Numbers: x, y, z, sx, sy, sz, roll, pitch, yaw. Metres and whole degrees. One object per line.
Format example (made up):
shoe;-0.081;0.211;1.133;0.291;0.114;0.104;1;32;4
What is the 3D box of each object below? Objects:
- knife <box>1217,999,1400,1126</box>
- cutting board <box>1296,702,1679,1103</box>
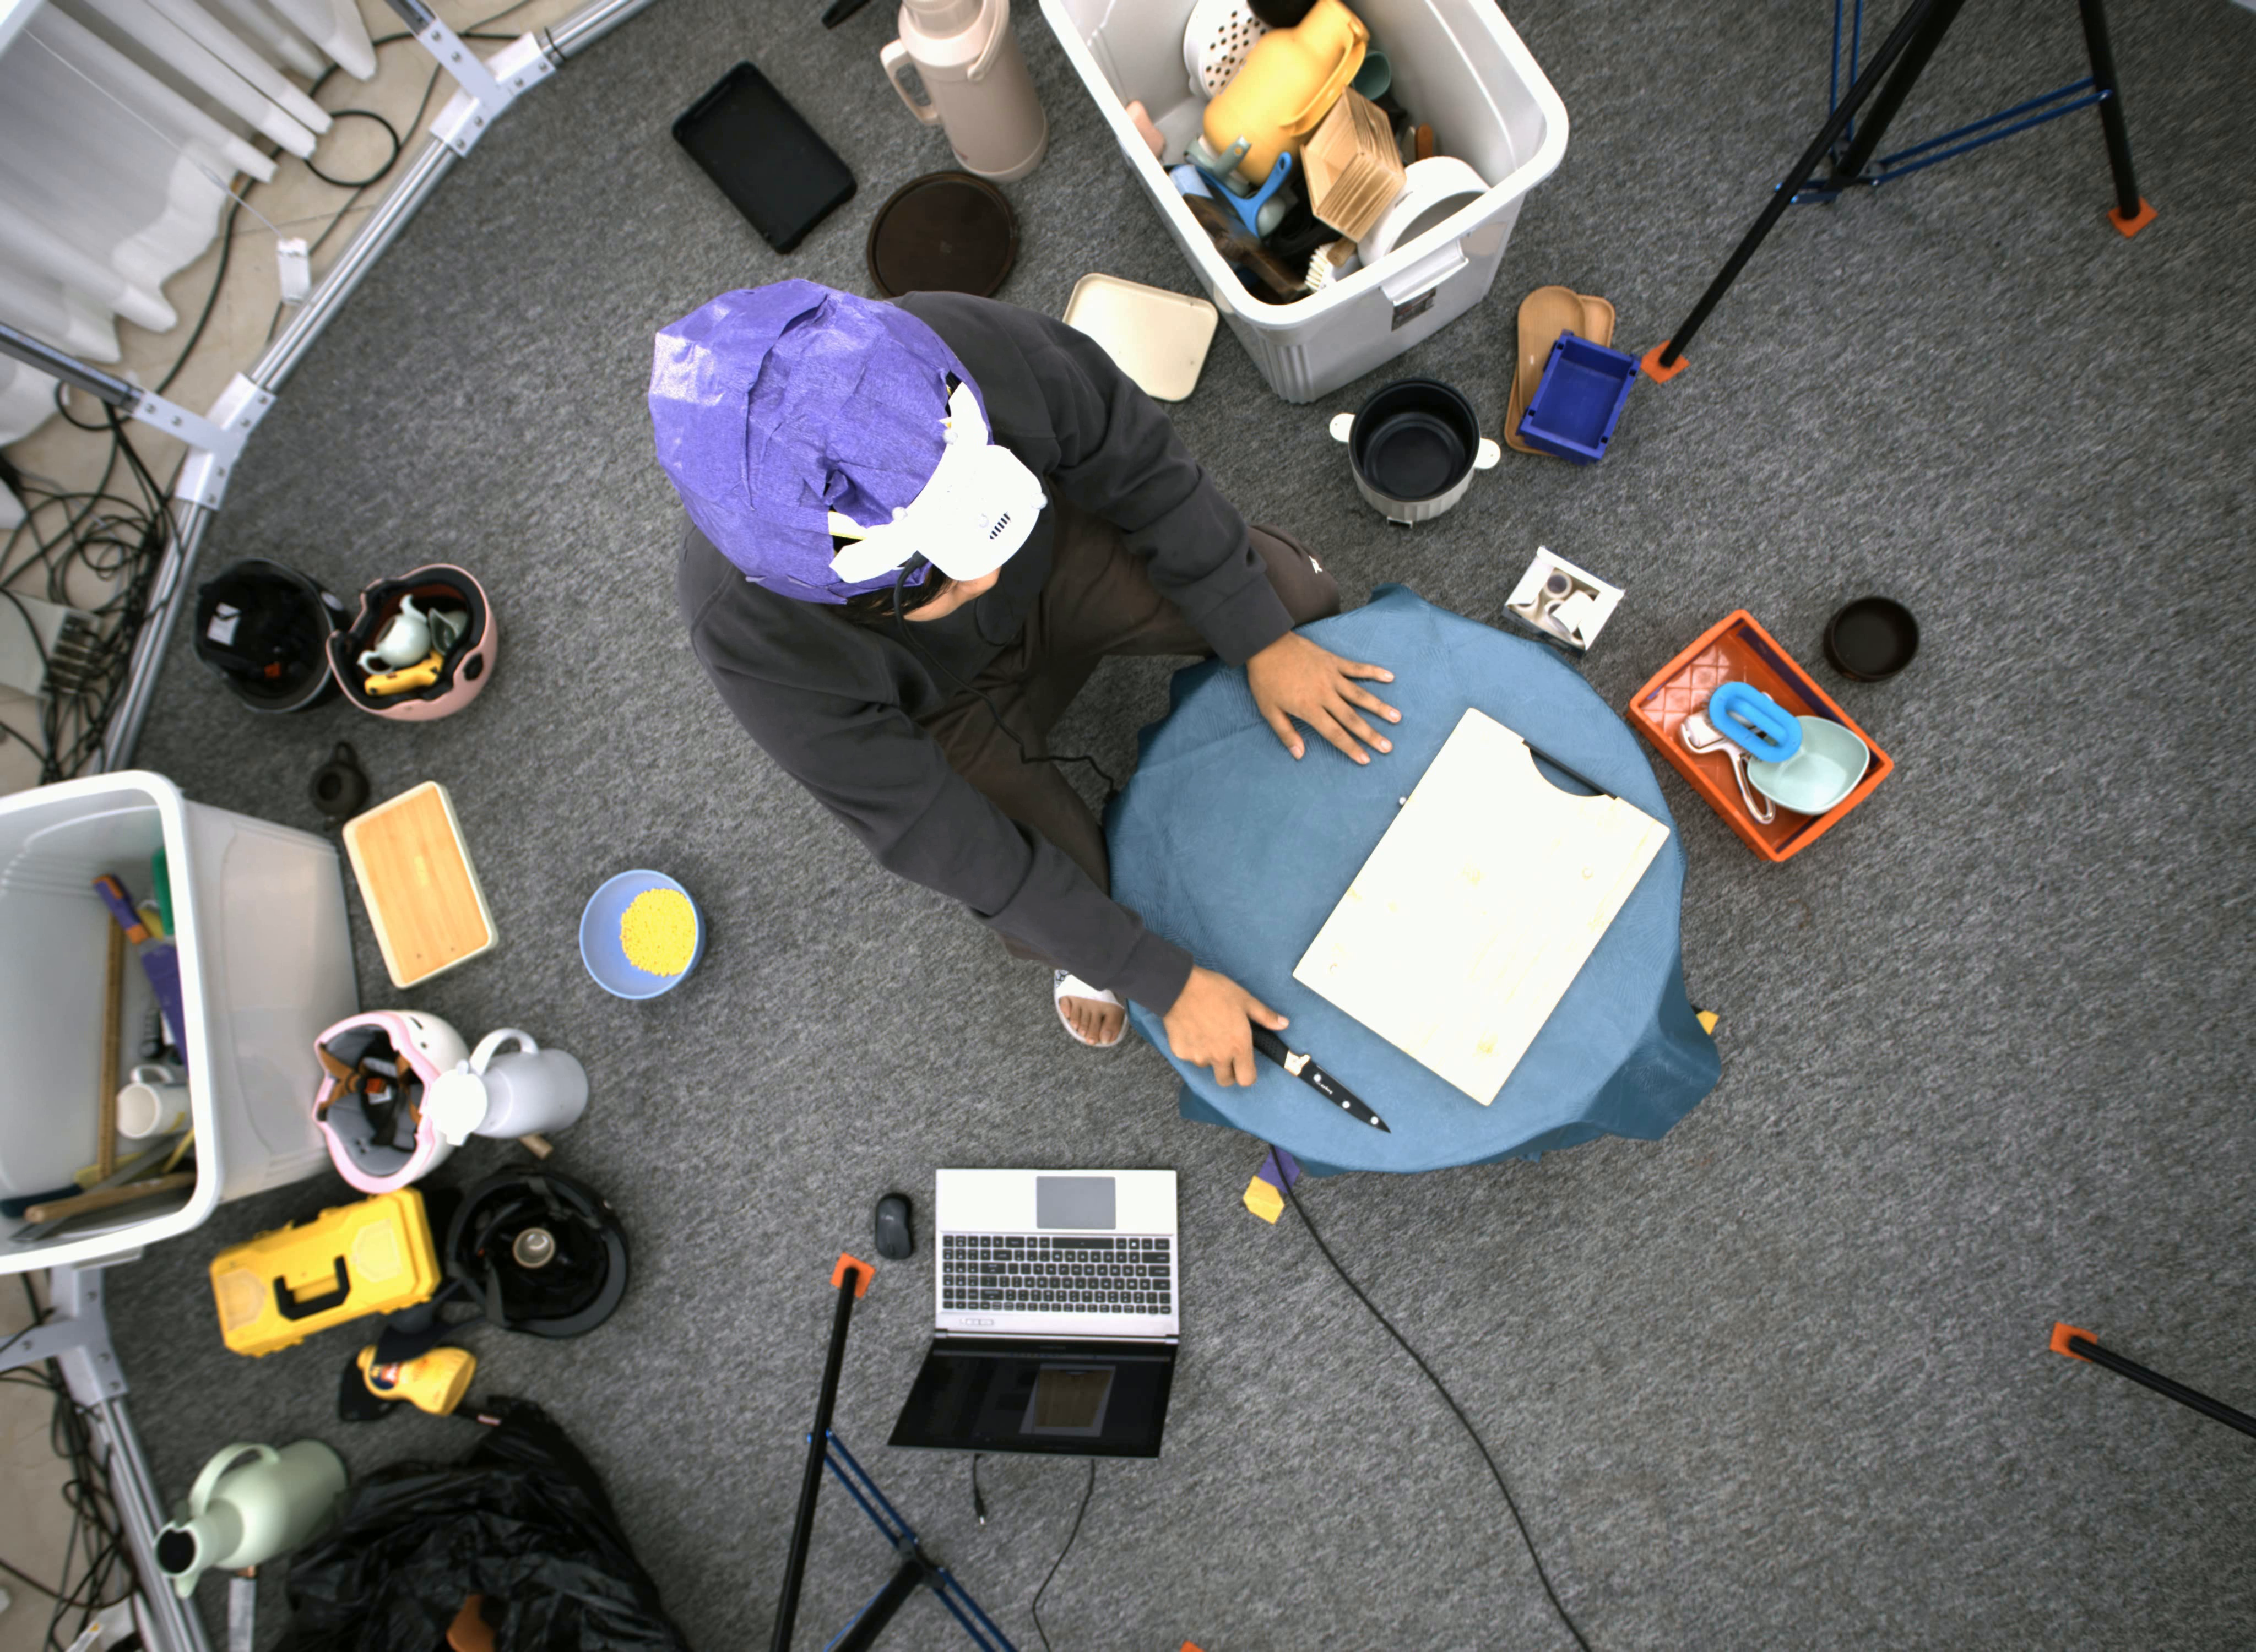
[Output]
knife;0.190;0.251;1.461;0.225;0.017;0.026;35;86;10
cutting board;0.369;0.075;1.433;0.250;0.023;0.349;33;93;11
